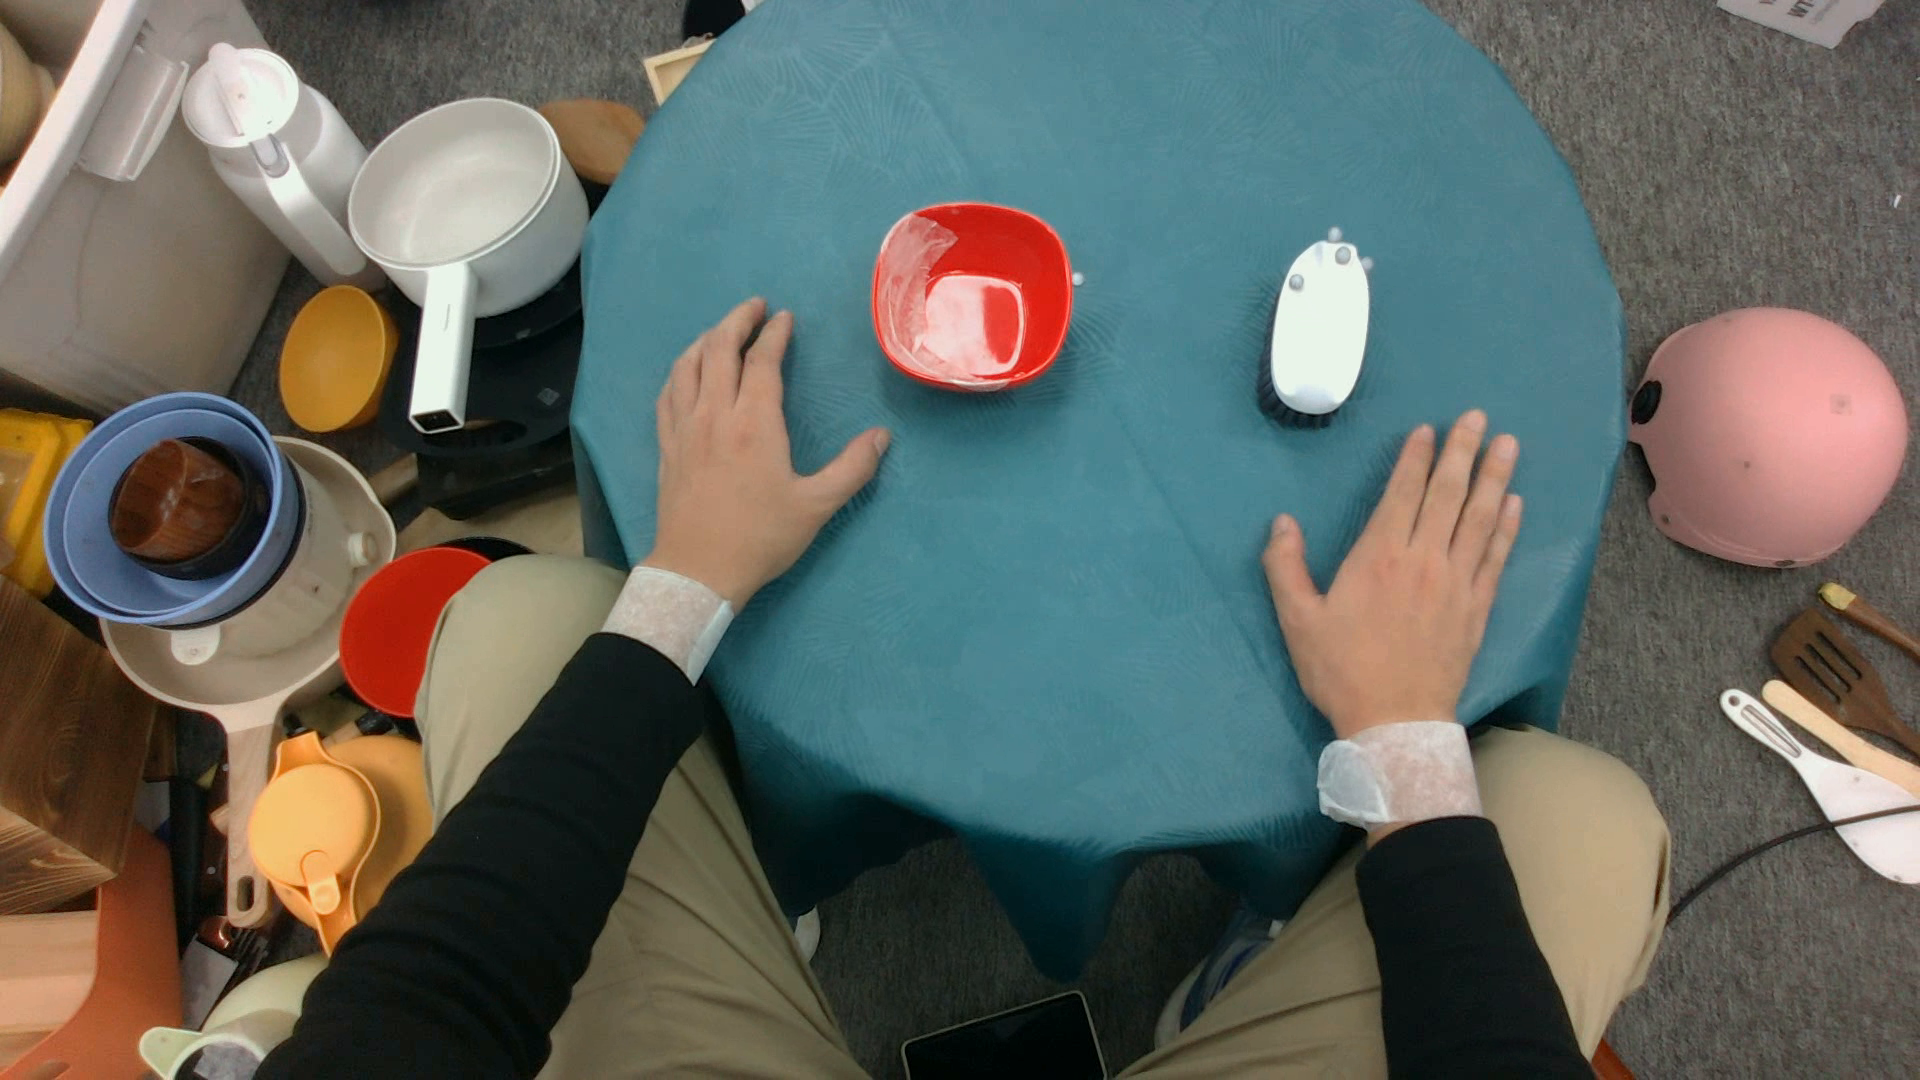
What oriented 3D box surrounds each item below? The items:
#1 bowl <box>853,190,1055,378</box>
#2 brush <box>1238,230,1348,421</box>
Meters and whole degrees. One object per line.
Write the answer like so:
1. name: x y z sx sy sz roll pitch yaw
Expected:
1. bowl: -0.004 -0.135 0.770 0.119 0.051 0.119 1 71 -2
2. brush: 0.189 -0.124 0.759 0.050 0.072 0.099 14 74 3
